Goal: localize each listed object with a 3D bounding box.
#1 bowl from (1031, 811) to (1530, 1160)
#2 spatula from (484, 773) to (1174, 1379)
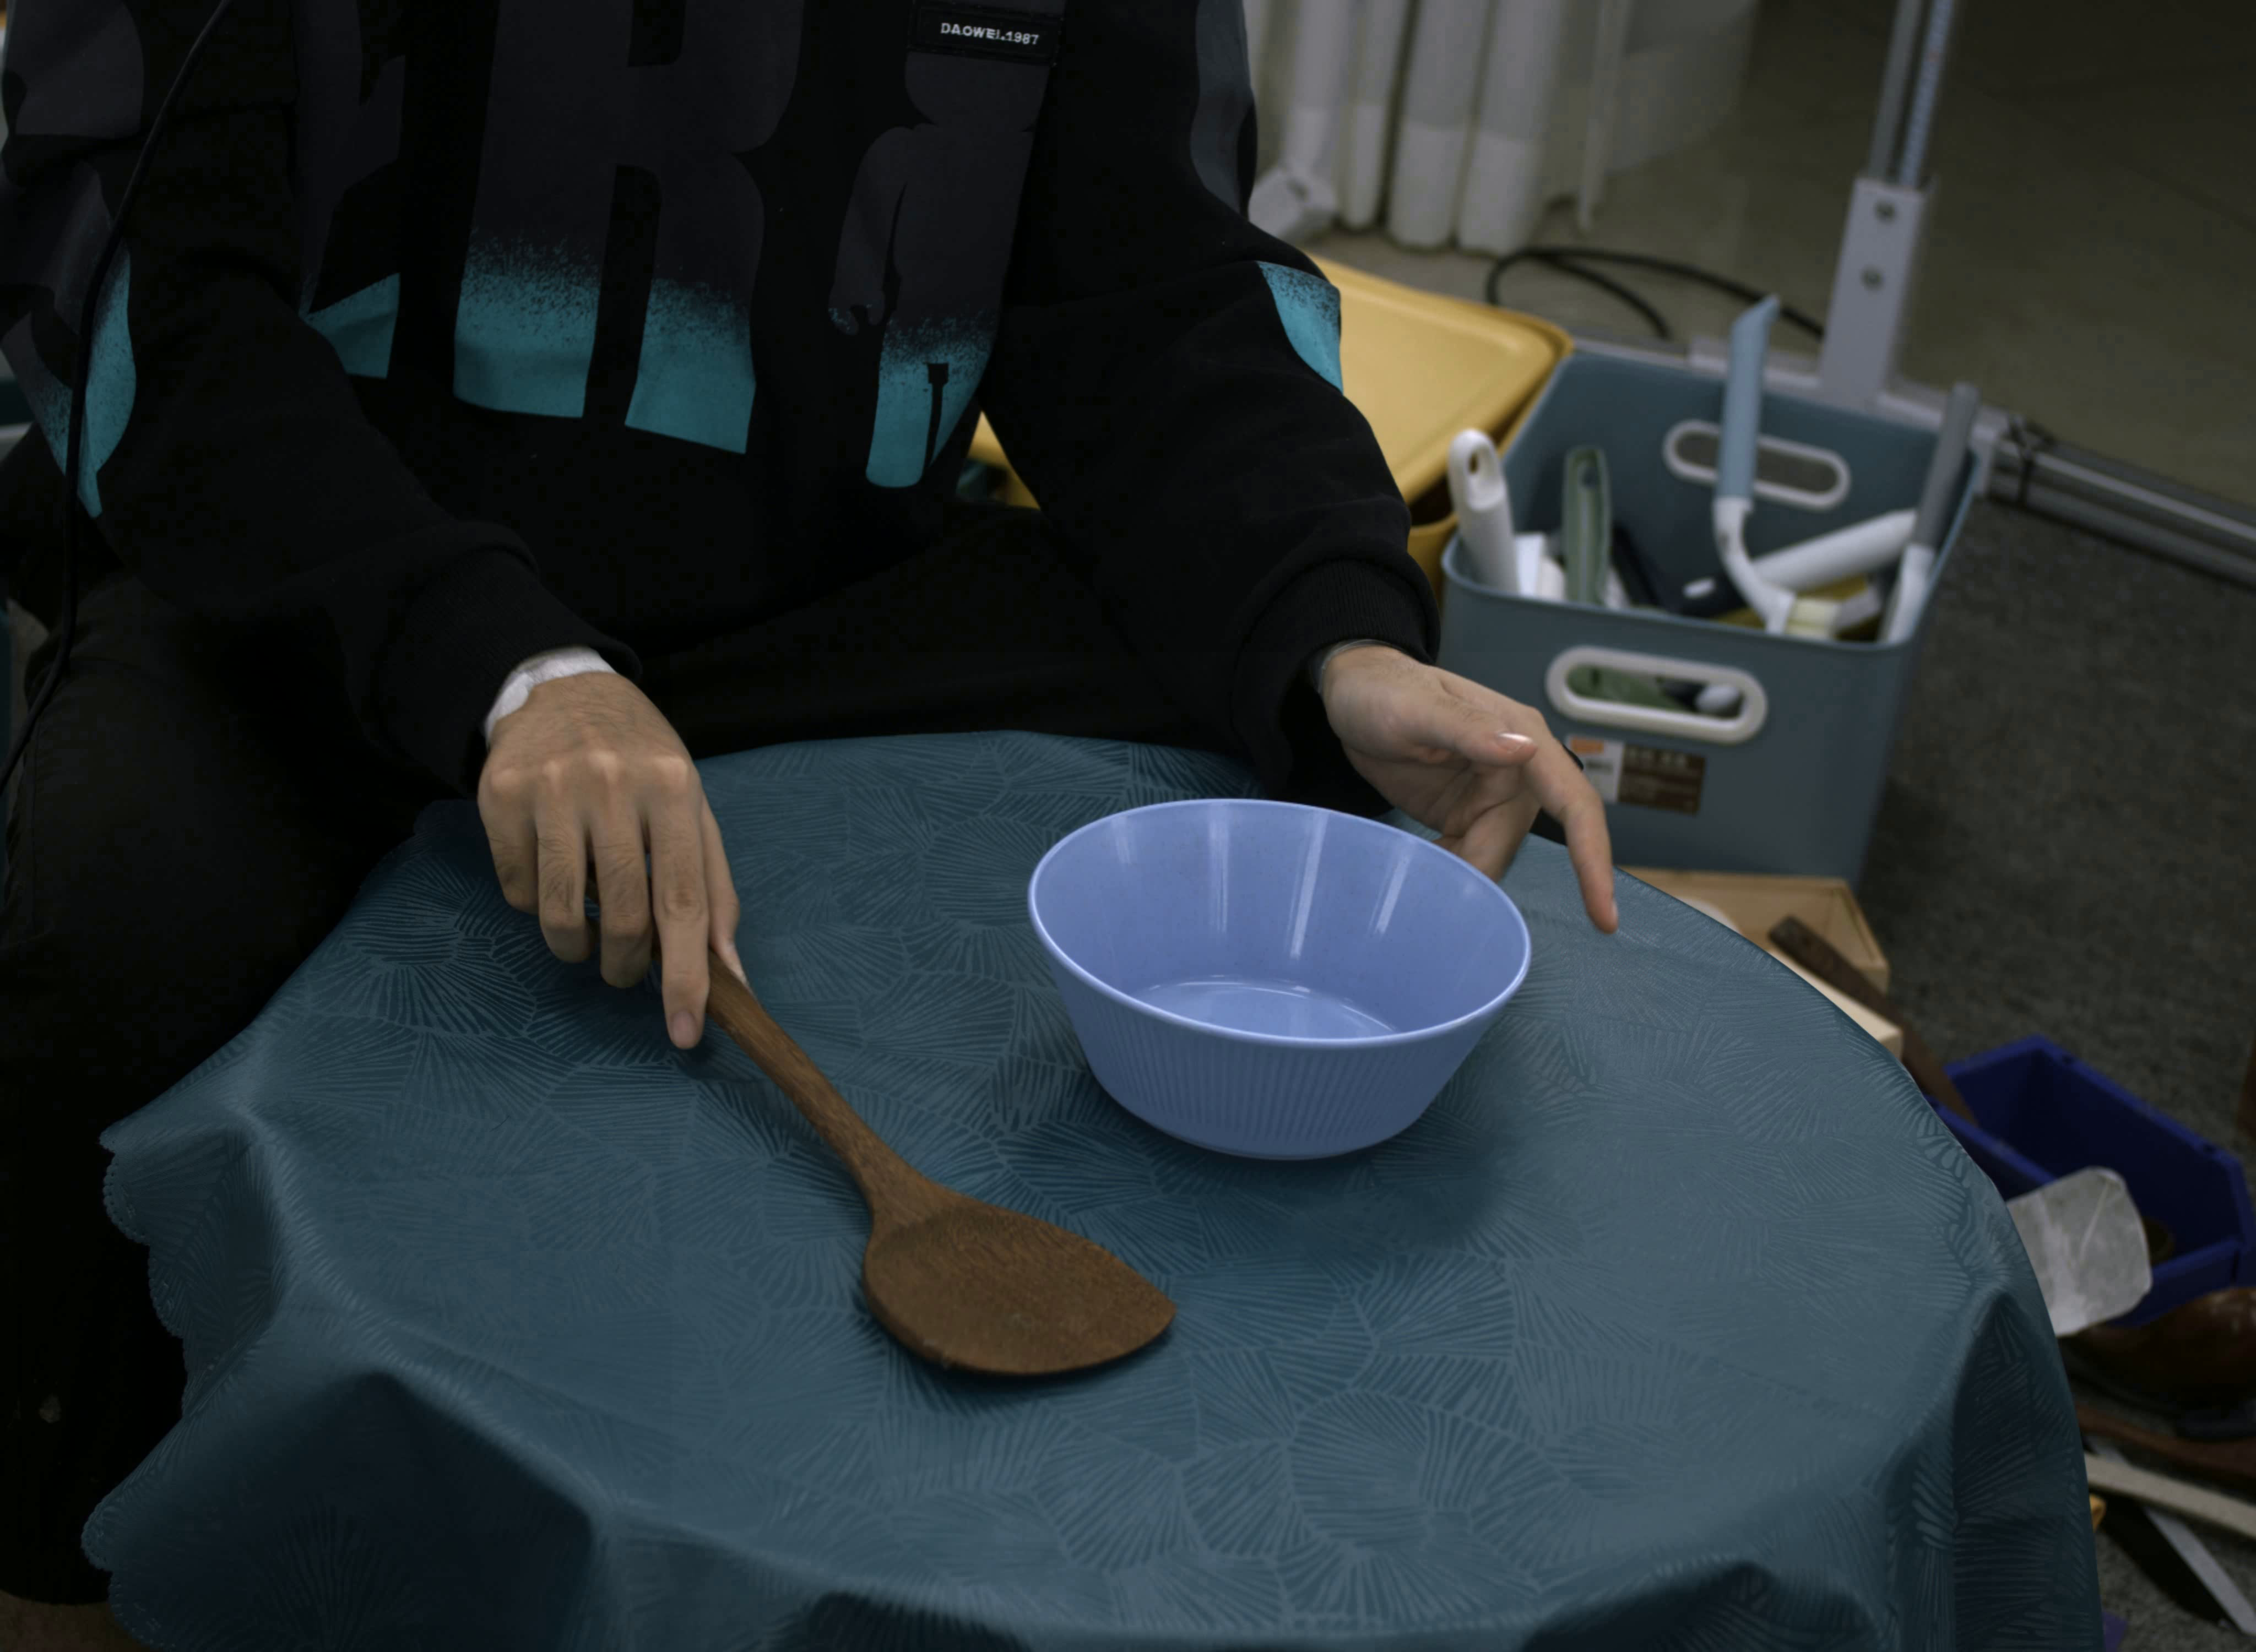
[{"bbox_3d":[0.050,0.061,1.858,0.175,0.070,0.177,5,25,-3],"label":"bowl"},{"bbox_3d":[-0.122,0.077,1.820,0.095,0.016,0.389,-9,36,-35],"label":"spatula"}]
